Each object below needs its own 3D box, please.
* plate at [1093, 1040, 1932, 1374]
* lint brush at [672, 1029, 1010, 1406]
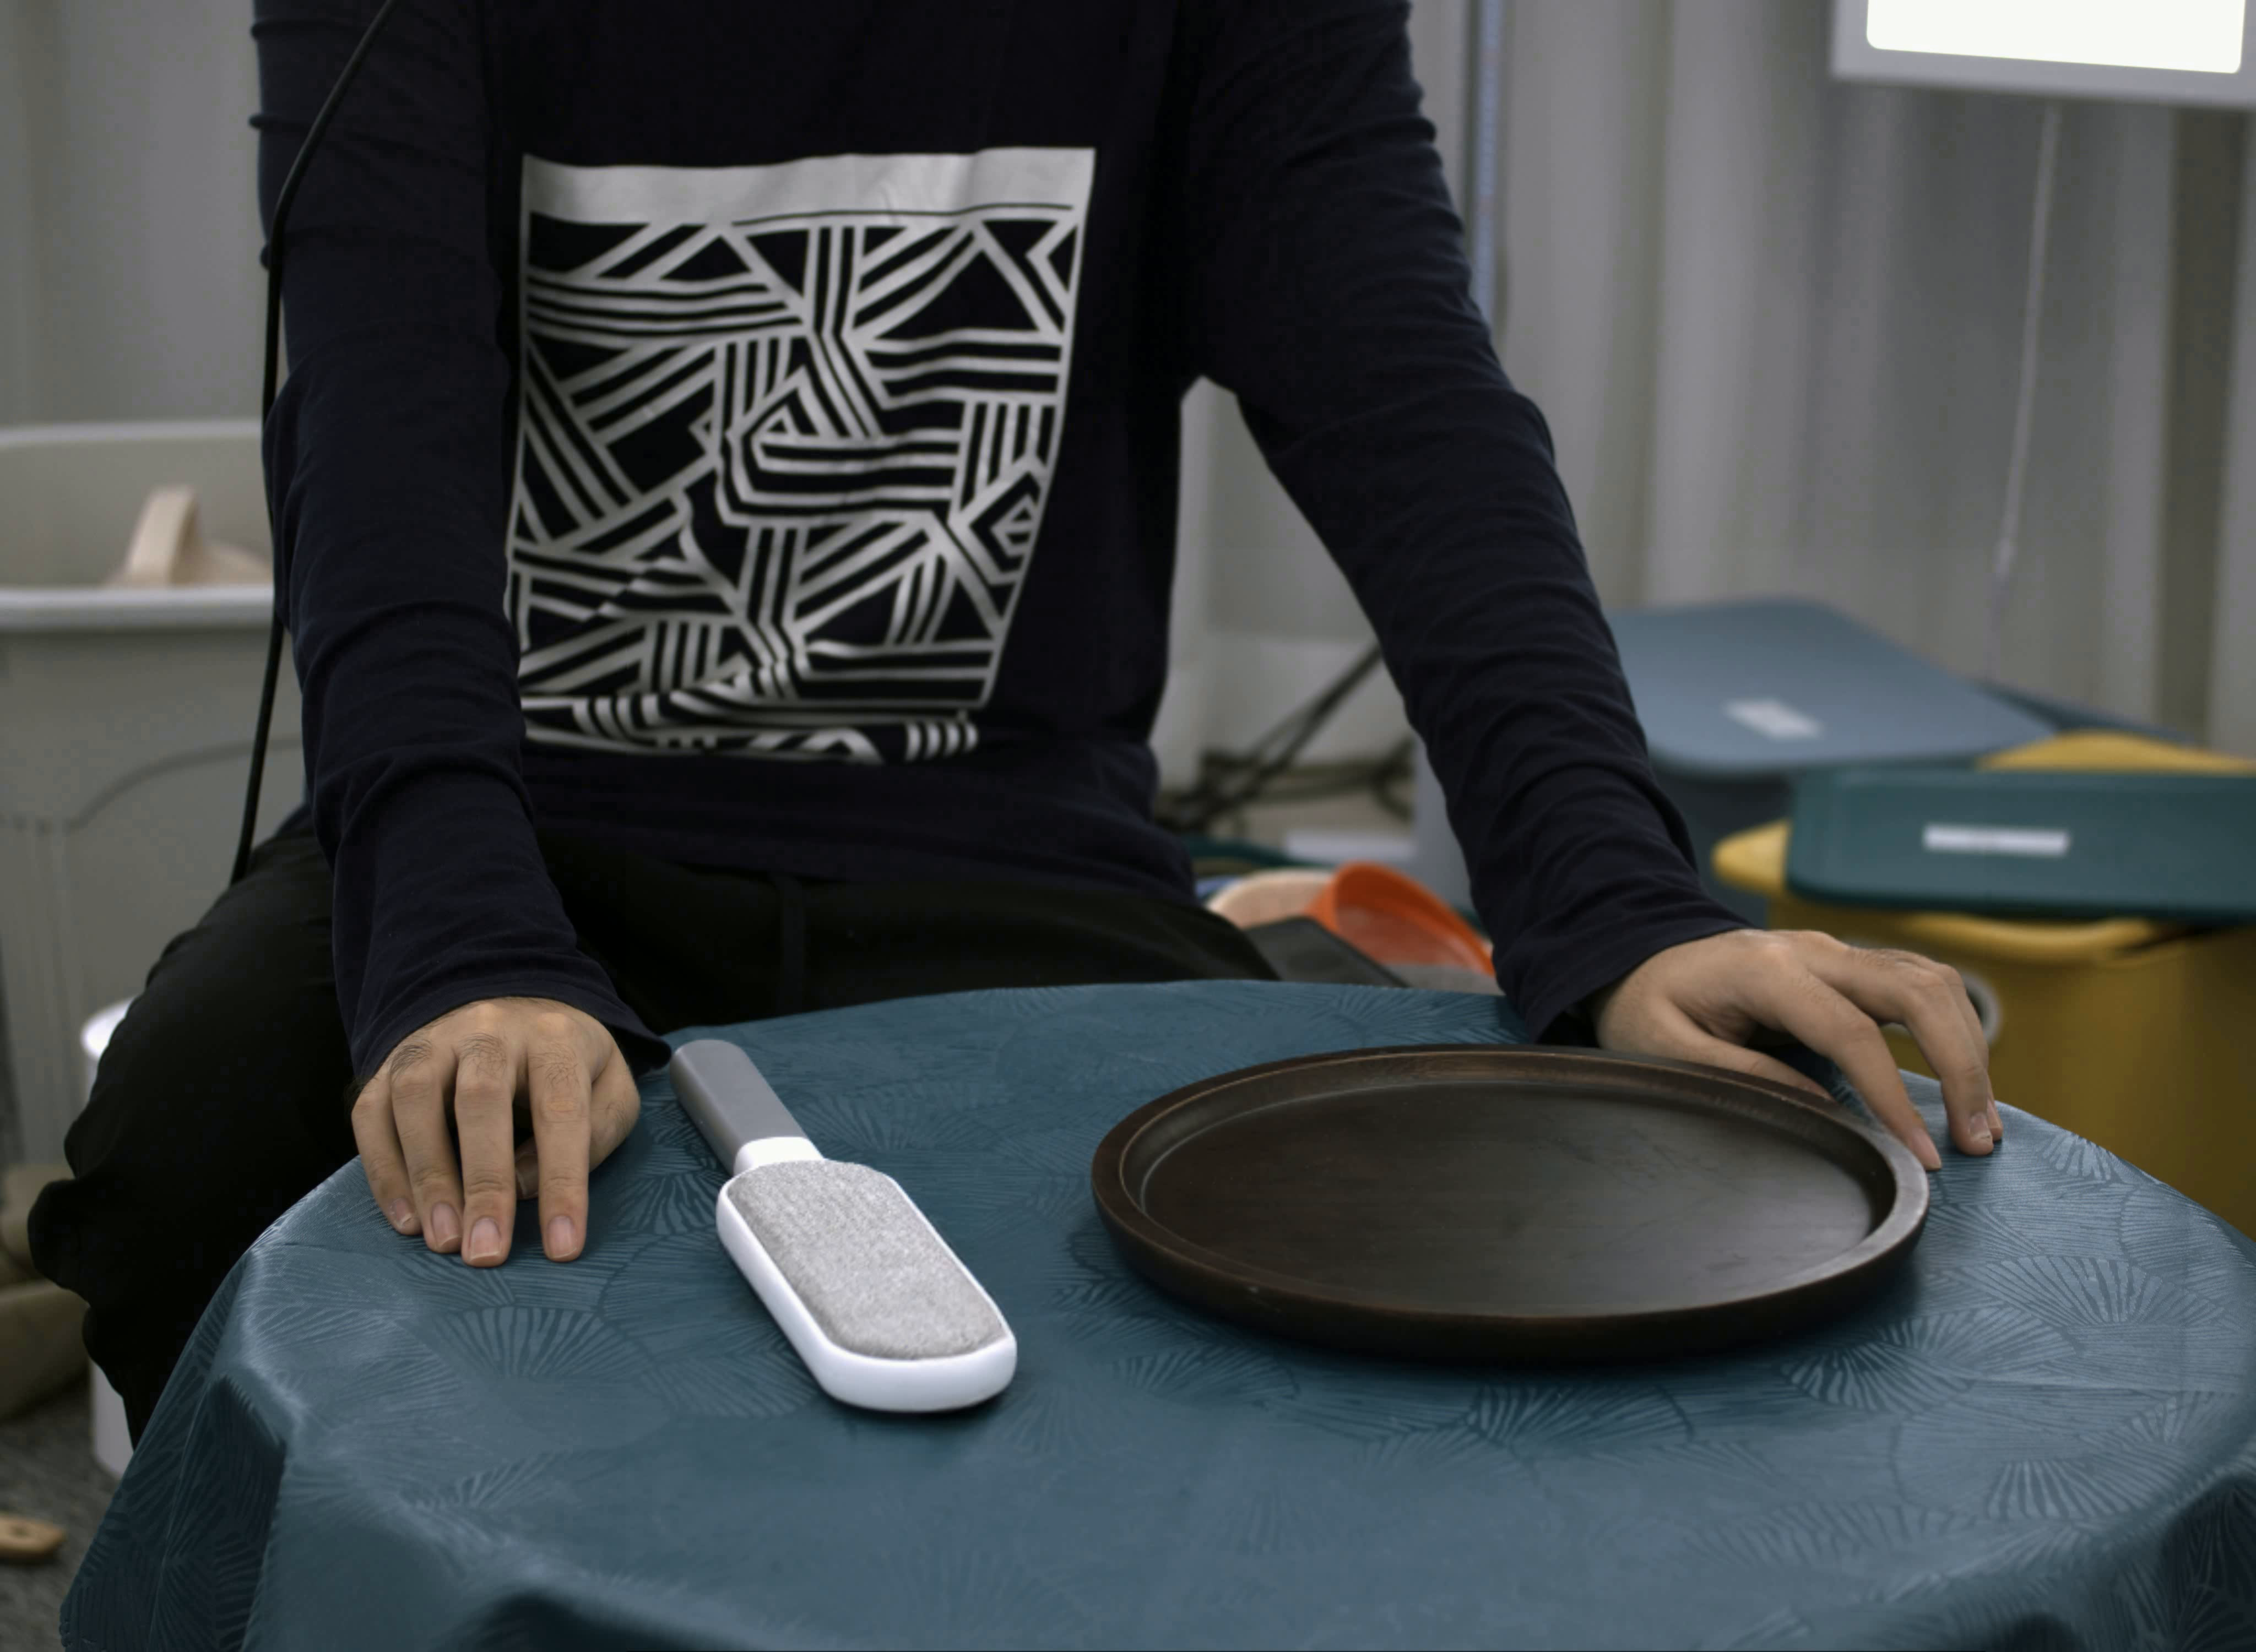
[{"bbox_3d":[0.115,0.111,1.585,0.254,0.029,0.253,2,15,0],"label":"plate"},{"bbox_3d":[-0.094,0.112,1.571,0.060,0.021,0.306,-9,17,-14],"label":"lint brush"}]
